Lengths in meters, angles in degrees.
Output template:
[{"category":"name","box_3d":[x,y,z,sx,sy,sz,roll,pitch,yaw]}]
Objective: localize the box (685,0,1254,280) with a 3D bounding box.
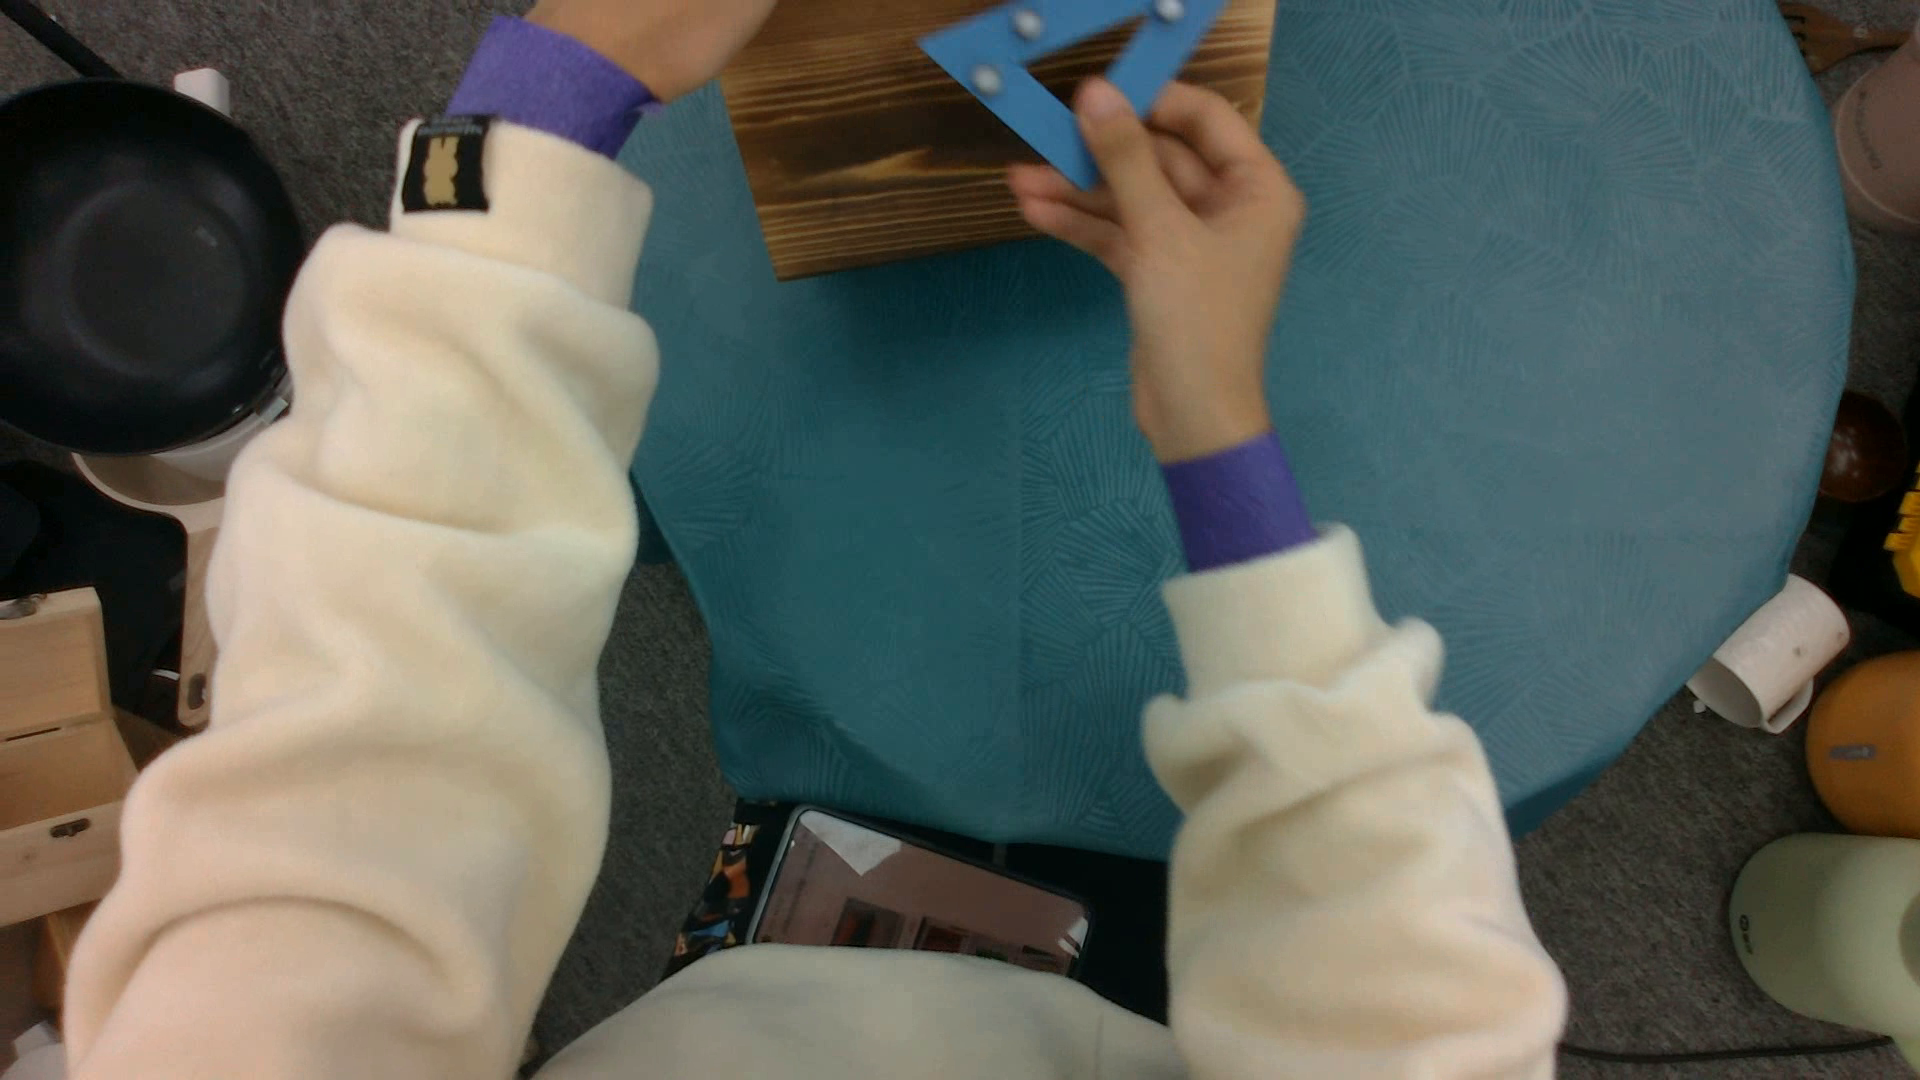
[{"category":"box","box_3d":[-0.025,-0.346,0.509,0.209,0.374,0.323,-11,58,-1]}]

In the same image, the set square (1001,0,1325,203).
[{"category":"set square","box_3d":[0.084,-0.156,0.470,0.132,0.006,0.061,-19,102,-2]}]
